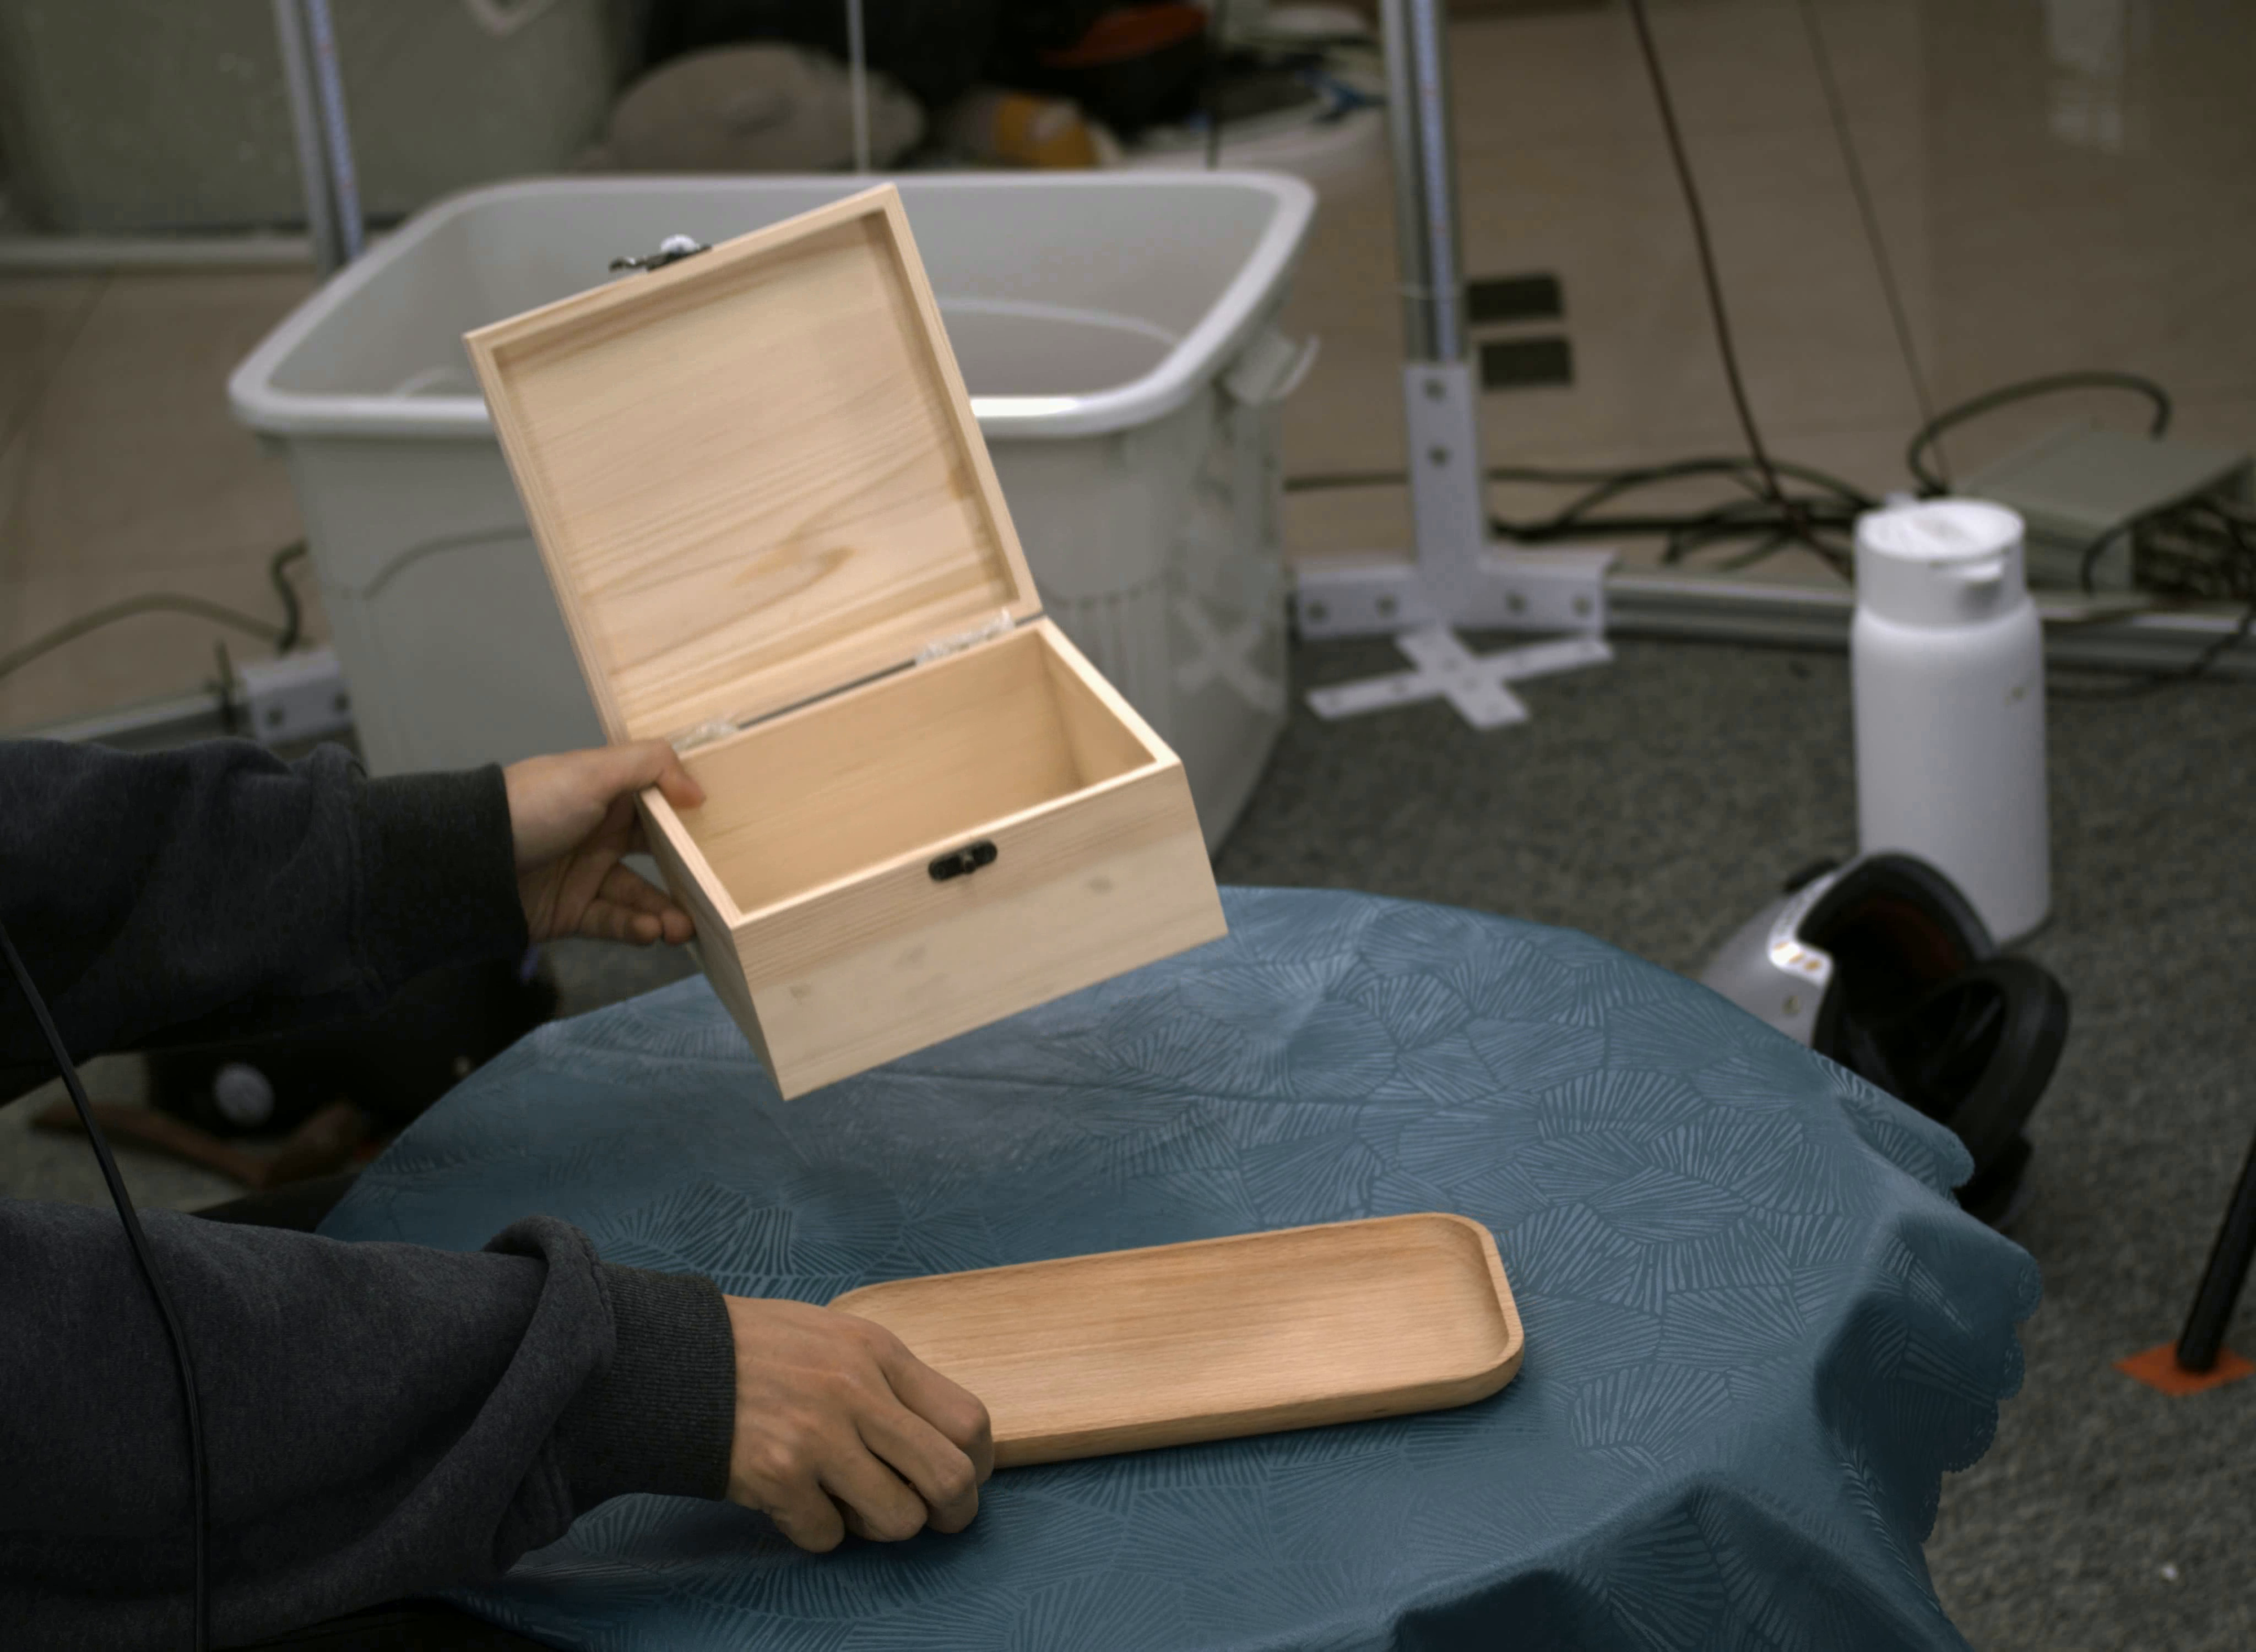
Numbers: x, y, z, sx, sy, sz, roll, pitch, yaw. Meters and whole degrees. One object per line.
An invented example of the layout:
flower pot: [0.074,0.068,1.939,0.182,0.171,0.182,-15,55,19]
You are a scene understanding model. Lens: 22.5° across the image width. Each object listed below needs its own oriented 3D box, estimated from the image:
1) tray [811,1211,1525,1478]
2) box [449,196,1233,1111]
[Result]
tray: [0.013,0.185,2.023,0.250,0.023,0.129,-8,22,-1]
box: [-0.113,-0.073,2.173,0.181,0.257,0.262,-23,24,-10]
